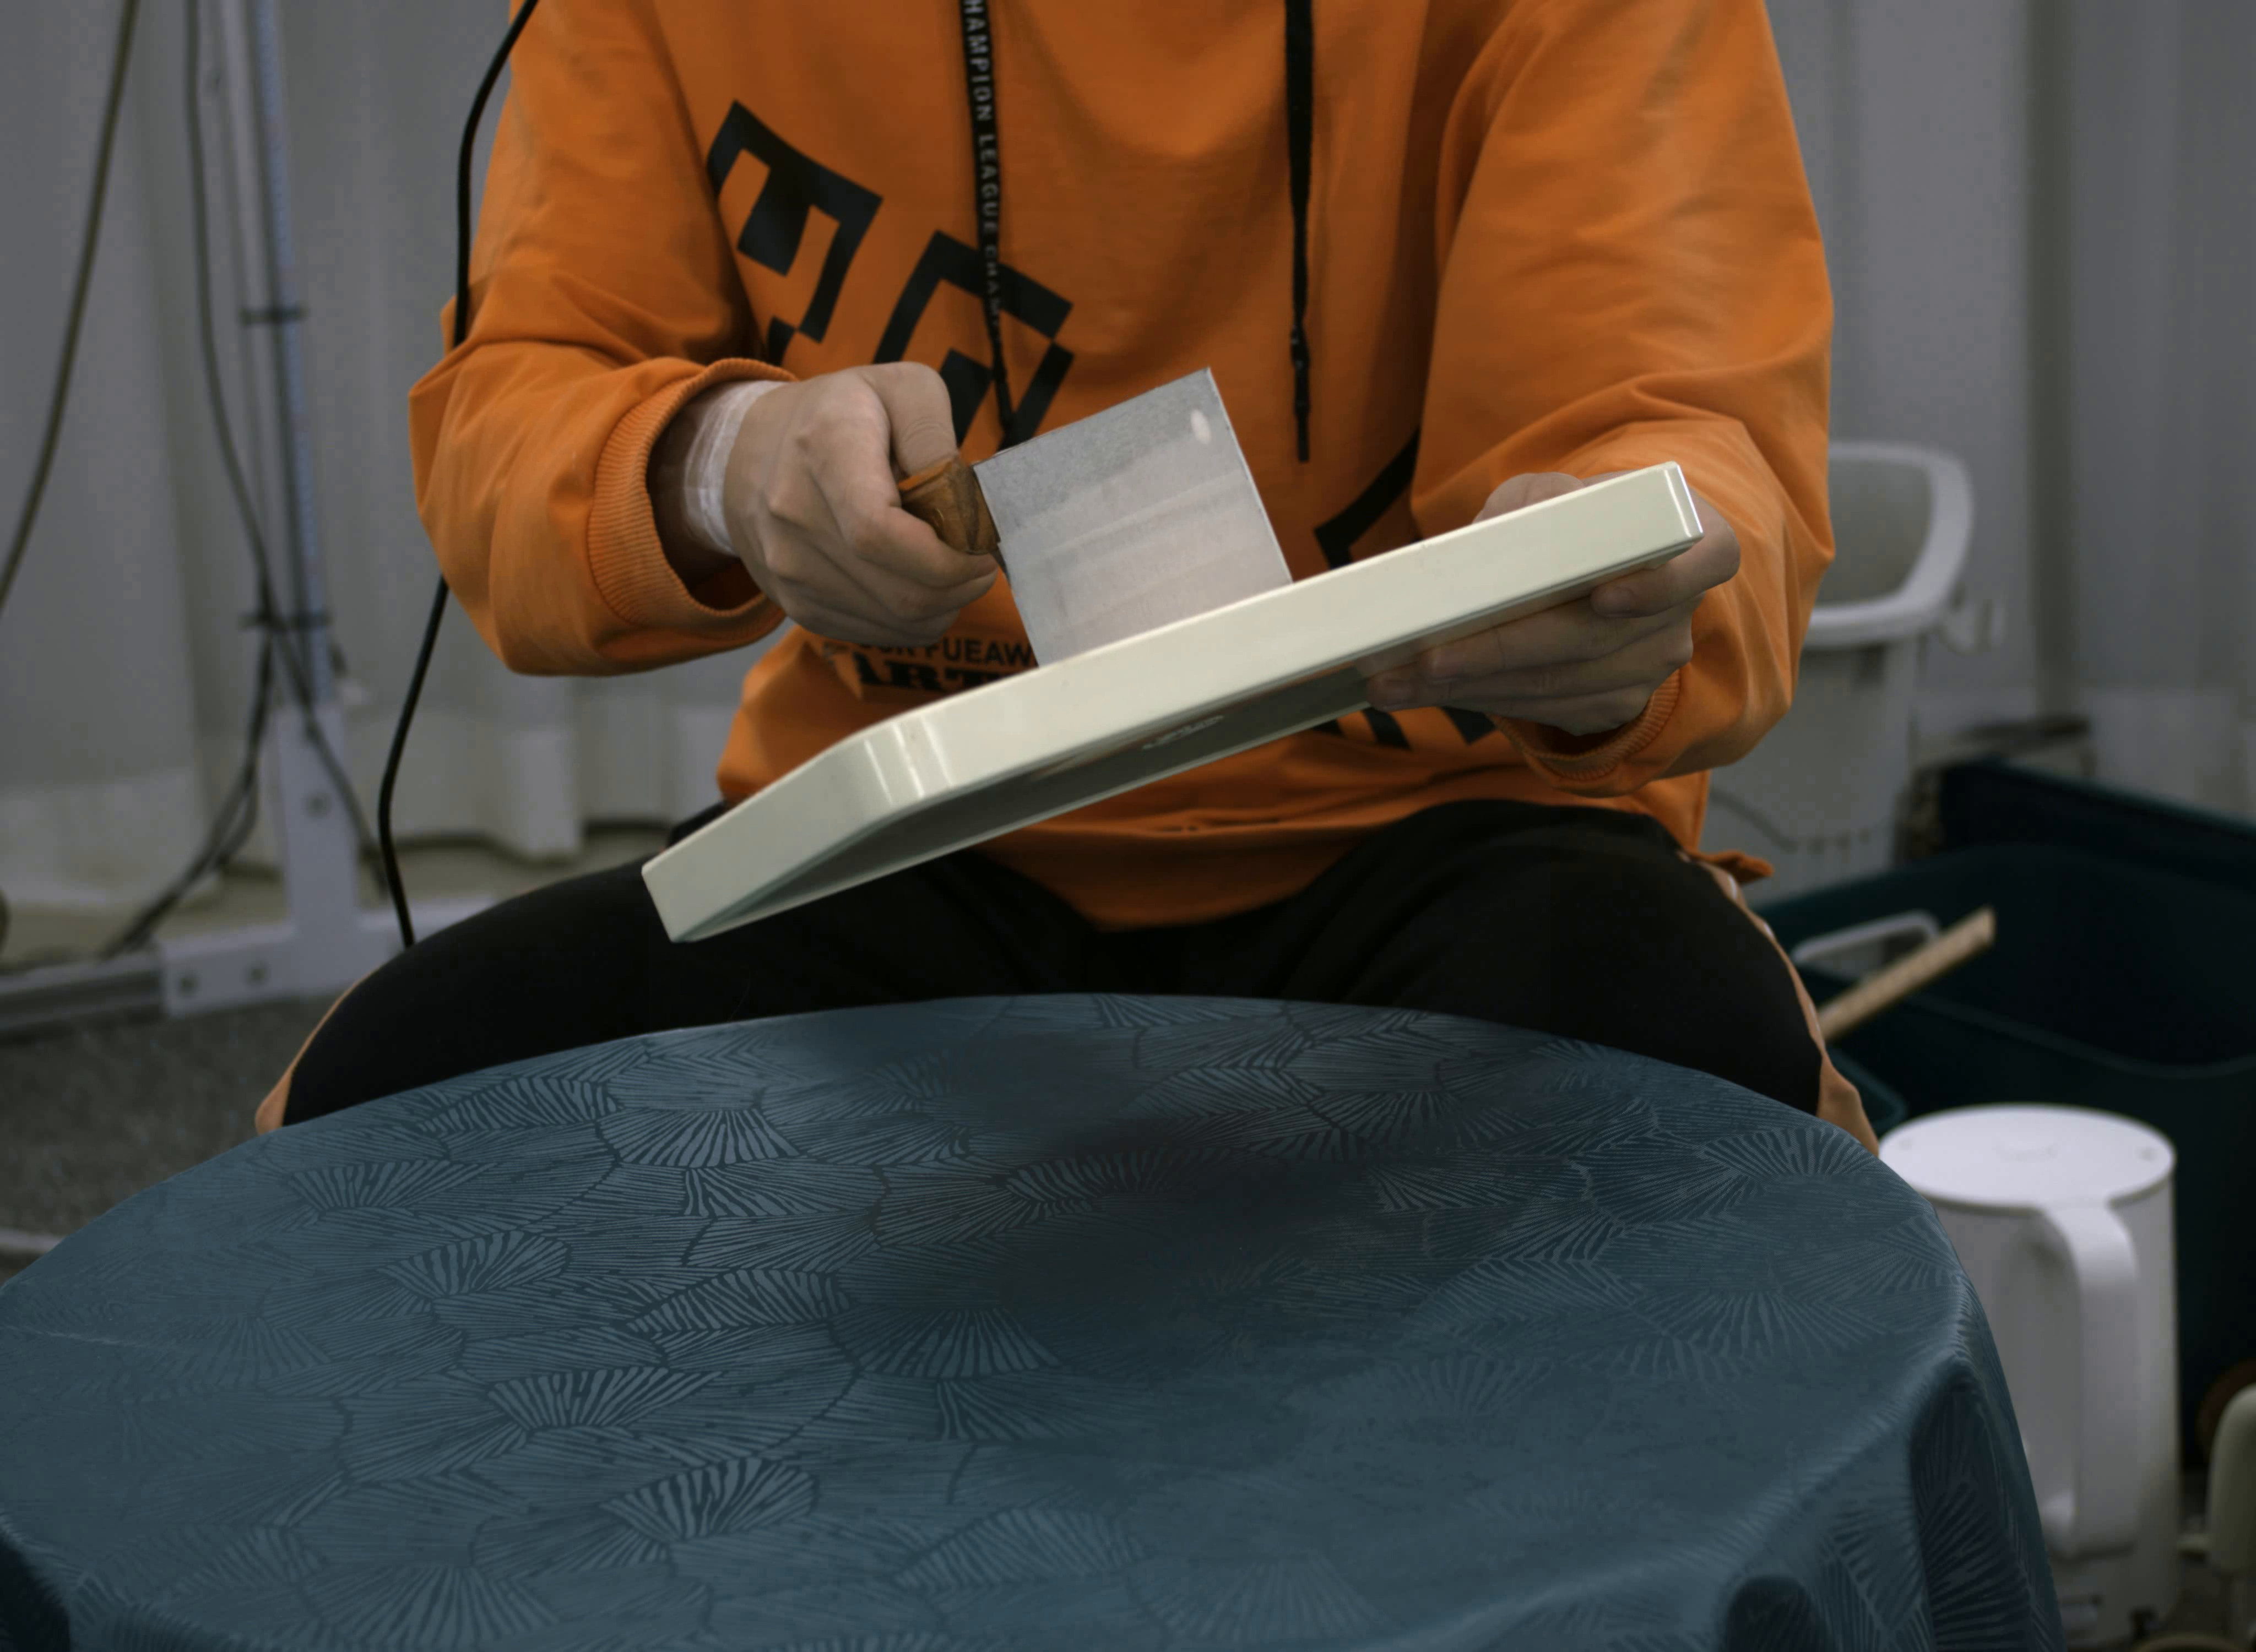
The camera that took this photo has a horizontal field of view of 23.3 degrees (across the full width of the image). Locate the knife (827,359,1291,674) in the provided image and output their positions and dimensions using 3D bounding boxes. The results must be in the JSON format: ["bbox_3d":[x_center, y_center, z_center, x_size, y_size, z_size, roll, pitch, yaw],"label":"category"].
[{"bbox_3d":[-0.023,-0.080,1.734,0.021,0.093,0.305,-22,3,-25],"label":"knife"}]

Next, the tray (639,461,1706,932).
[{"bbox_3d":[0.014,-0.038,1.661,0.300,0.027,0.191,-19,-4,-29],"label":"tray"}]
